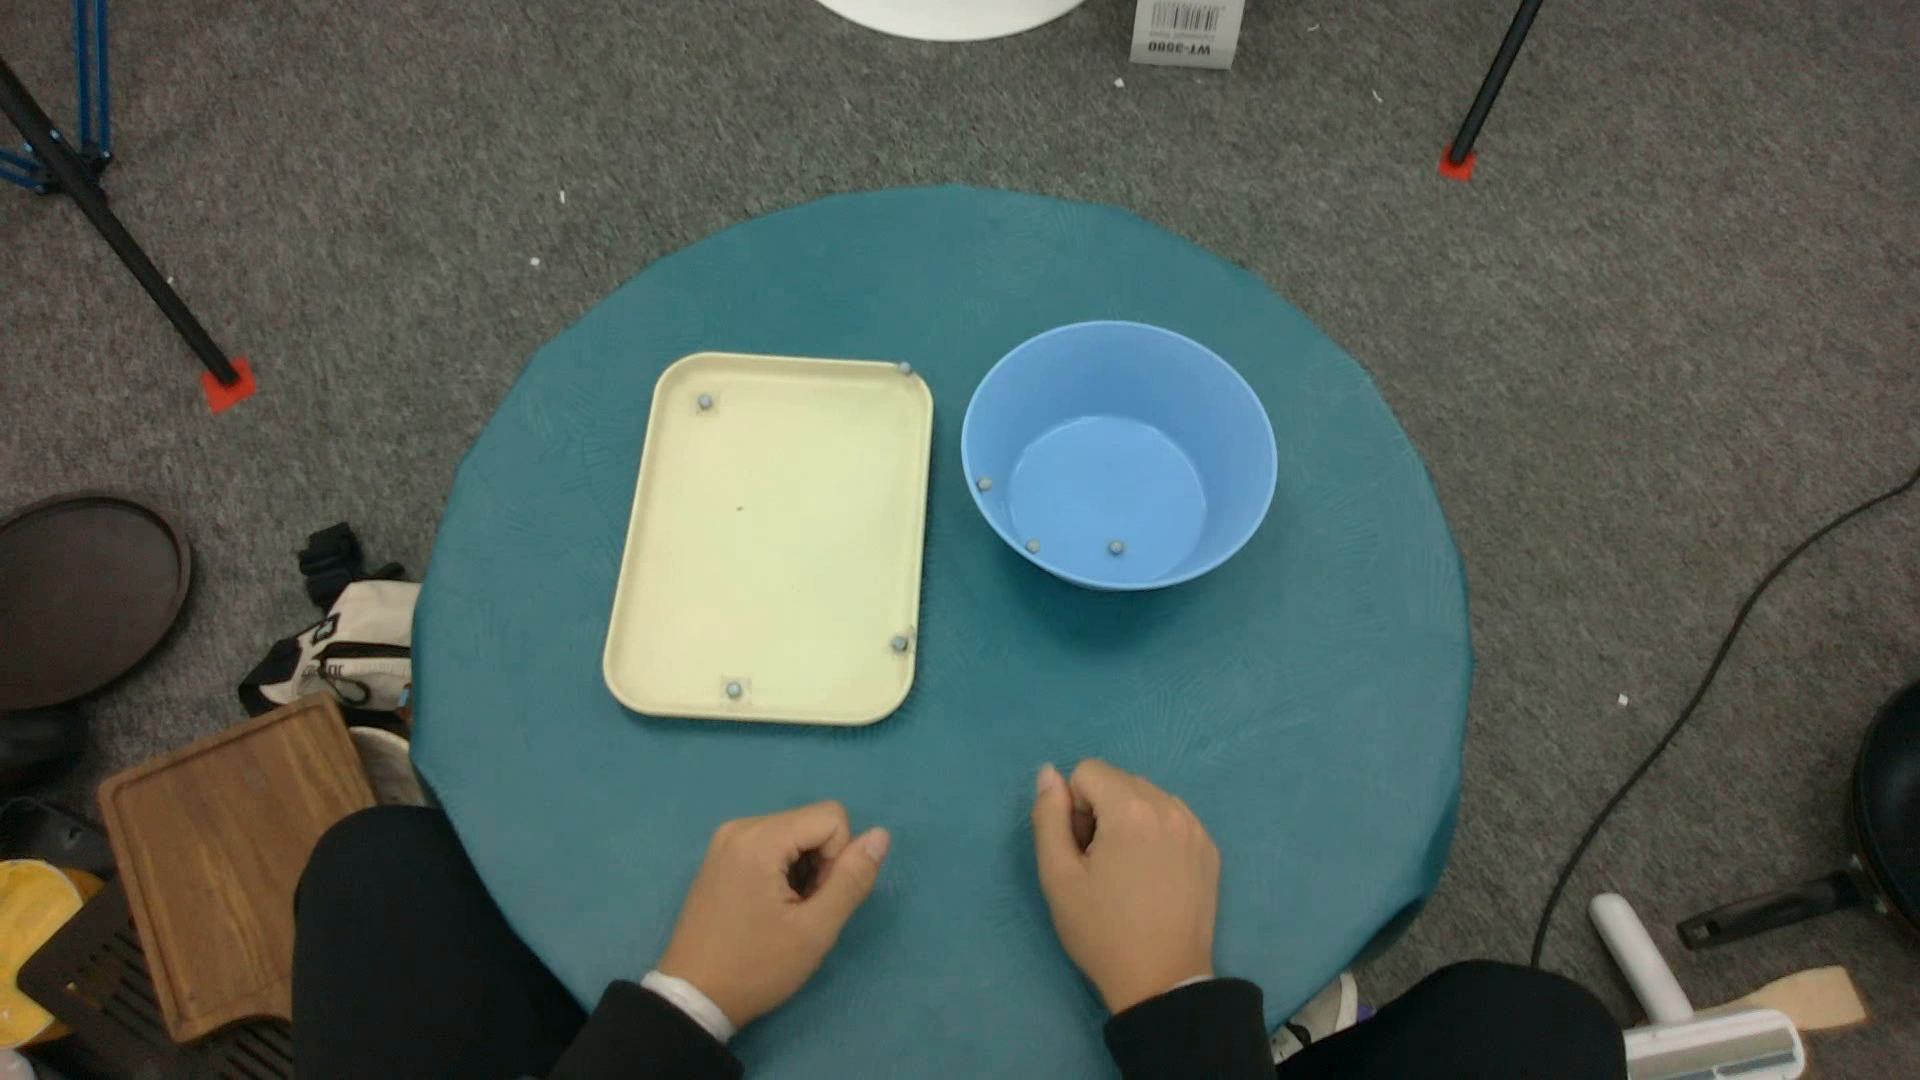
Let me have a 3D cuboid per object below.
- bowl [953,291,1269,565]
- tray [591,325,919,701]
[{"bbox_3d":[0.083,-0.052,0.790,0.176,0.070,0.177,1,63,-1],"label":"bowl"},{"bbox_3d":[-0.113,-0.020,0.795,0.171,0.017,0.240,3,63,0],"label":"tray"}]
